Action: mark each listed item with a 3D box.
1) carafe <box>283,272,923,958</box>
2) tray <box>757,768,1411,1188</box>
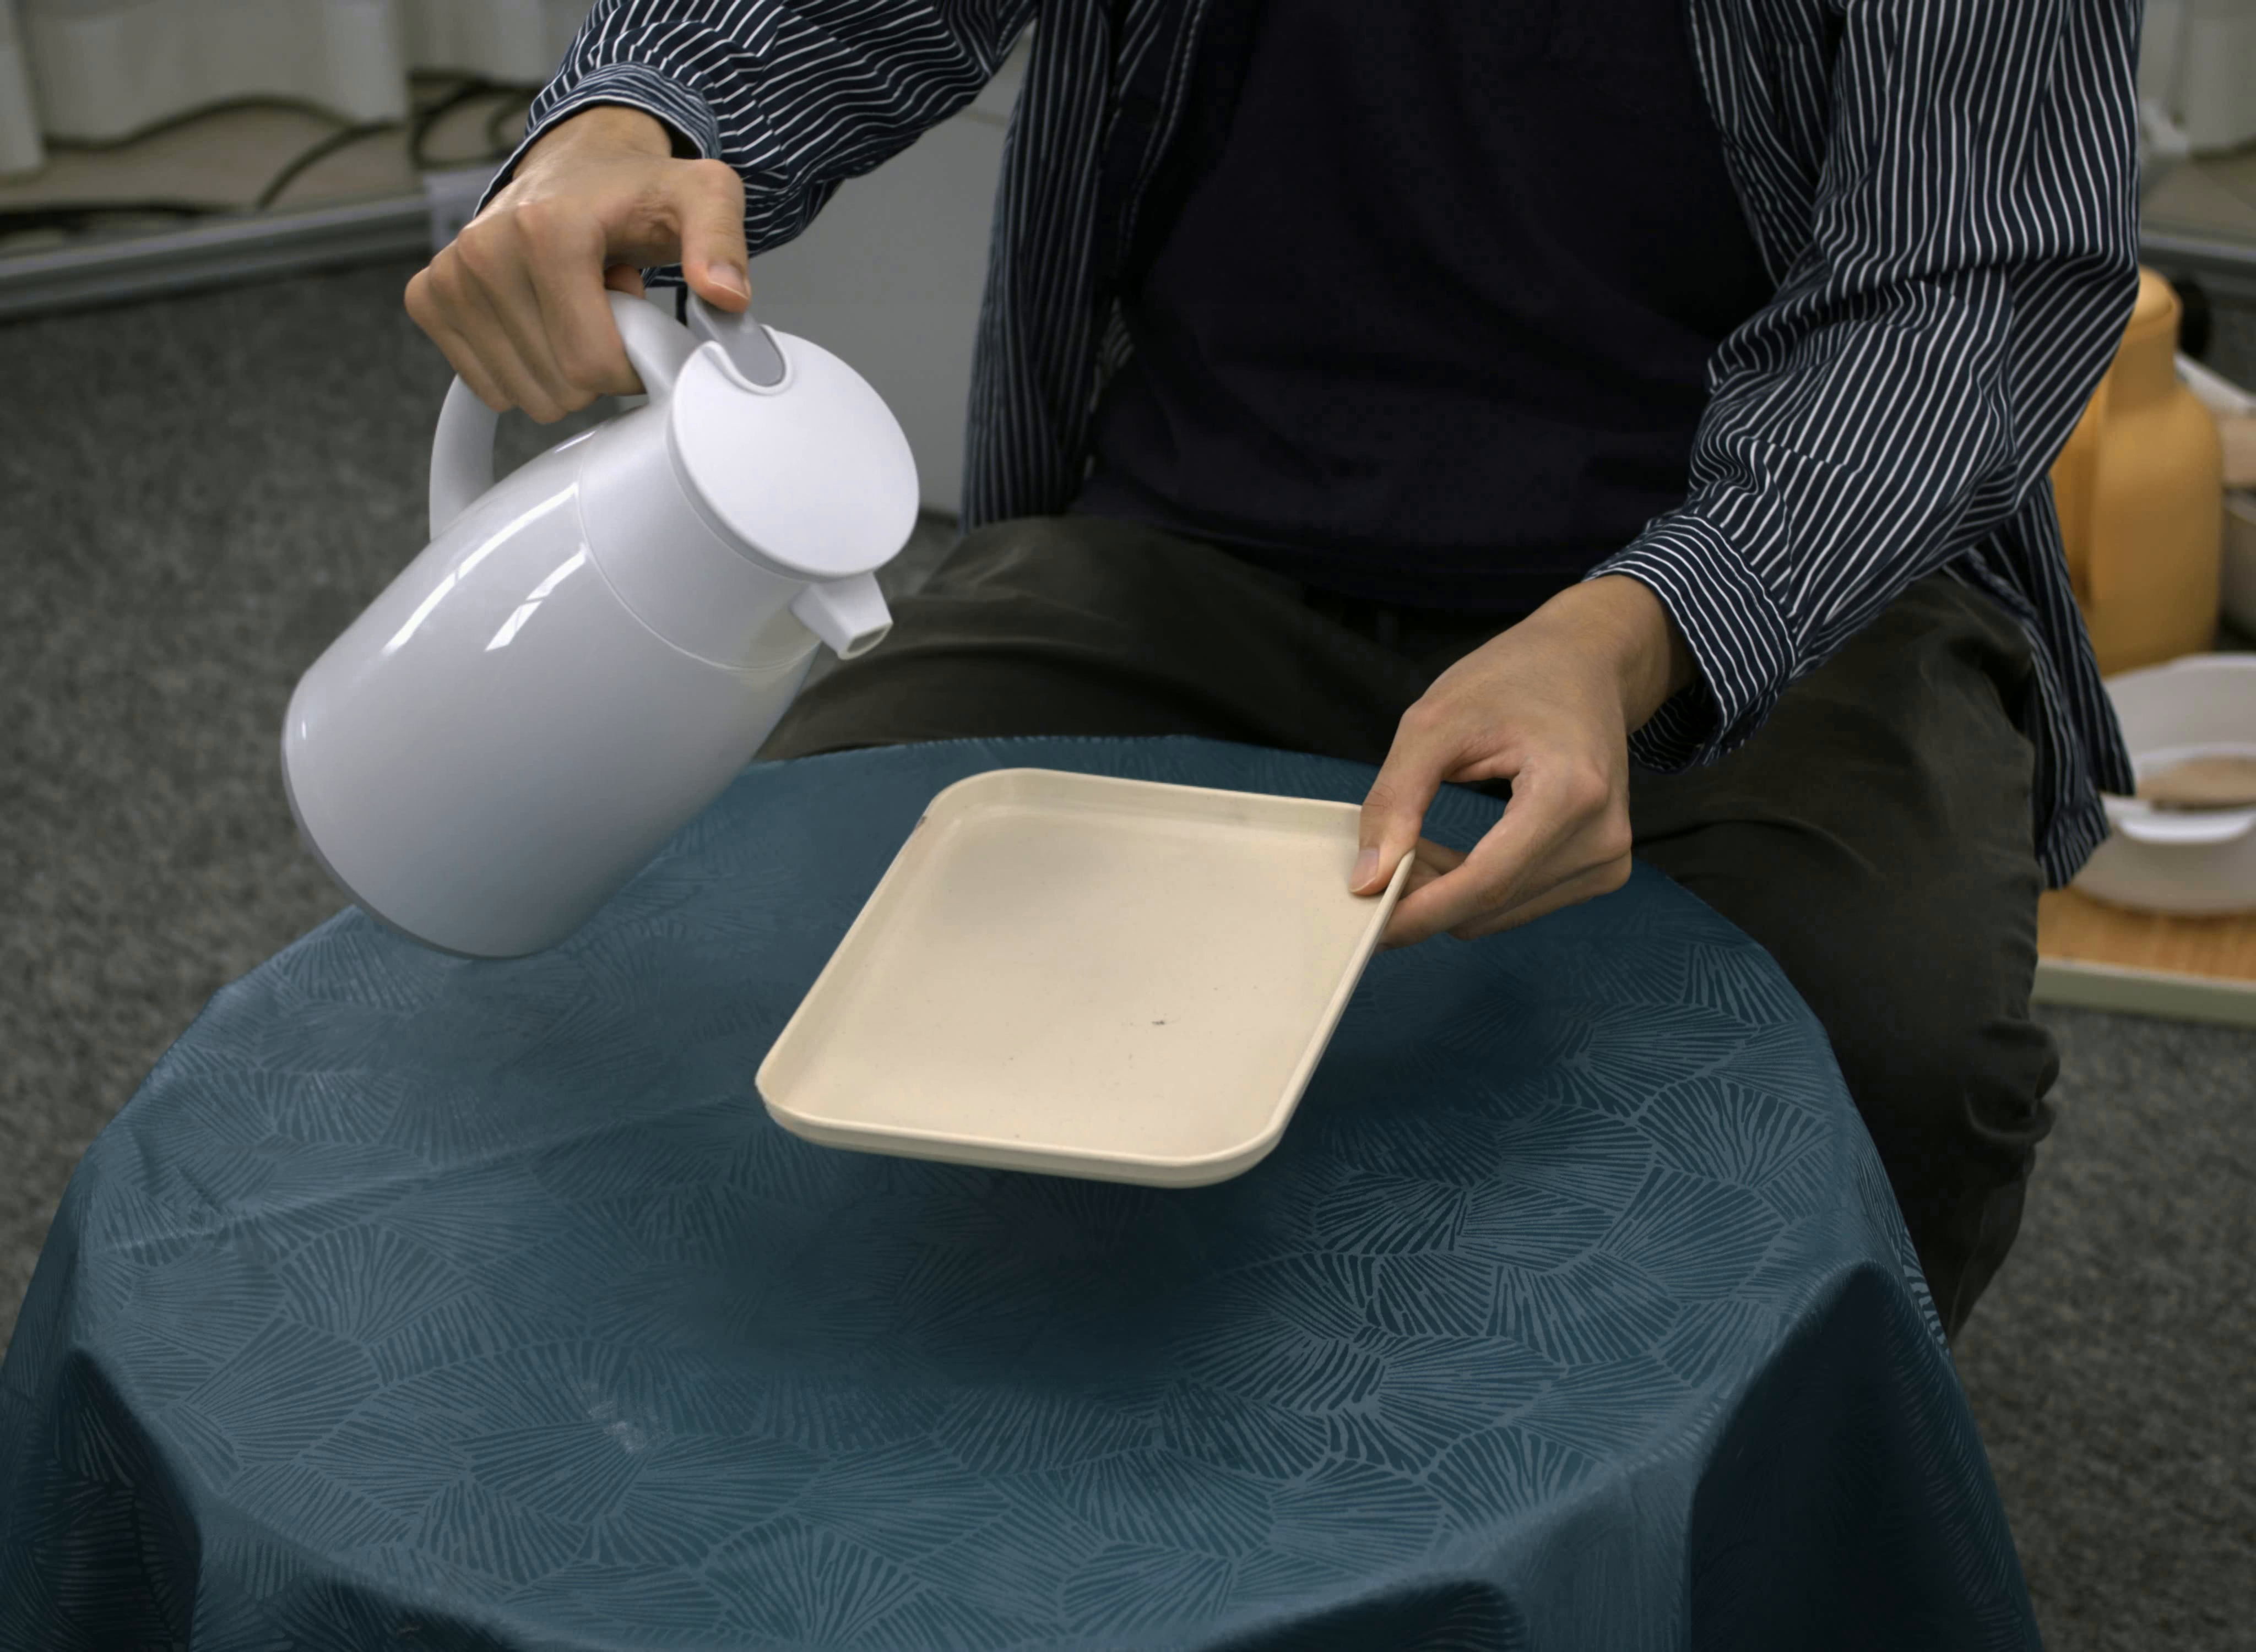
[{"bbox_3d":[-0.179,-0.085,1.873,0.134,0.244,0.168,-29,81,-46],"label":"carafe"},{"bbox_3d":[-0.011,0.048,1.820,0.170,0.017,0.244,7,29,14],"label":"tray"}]
